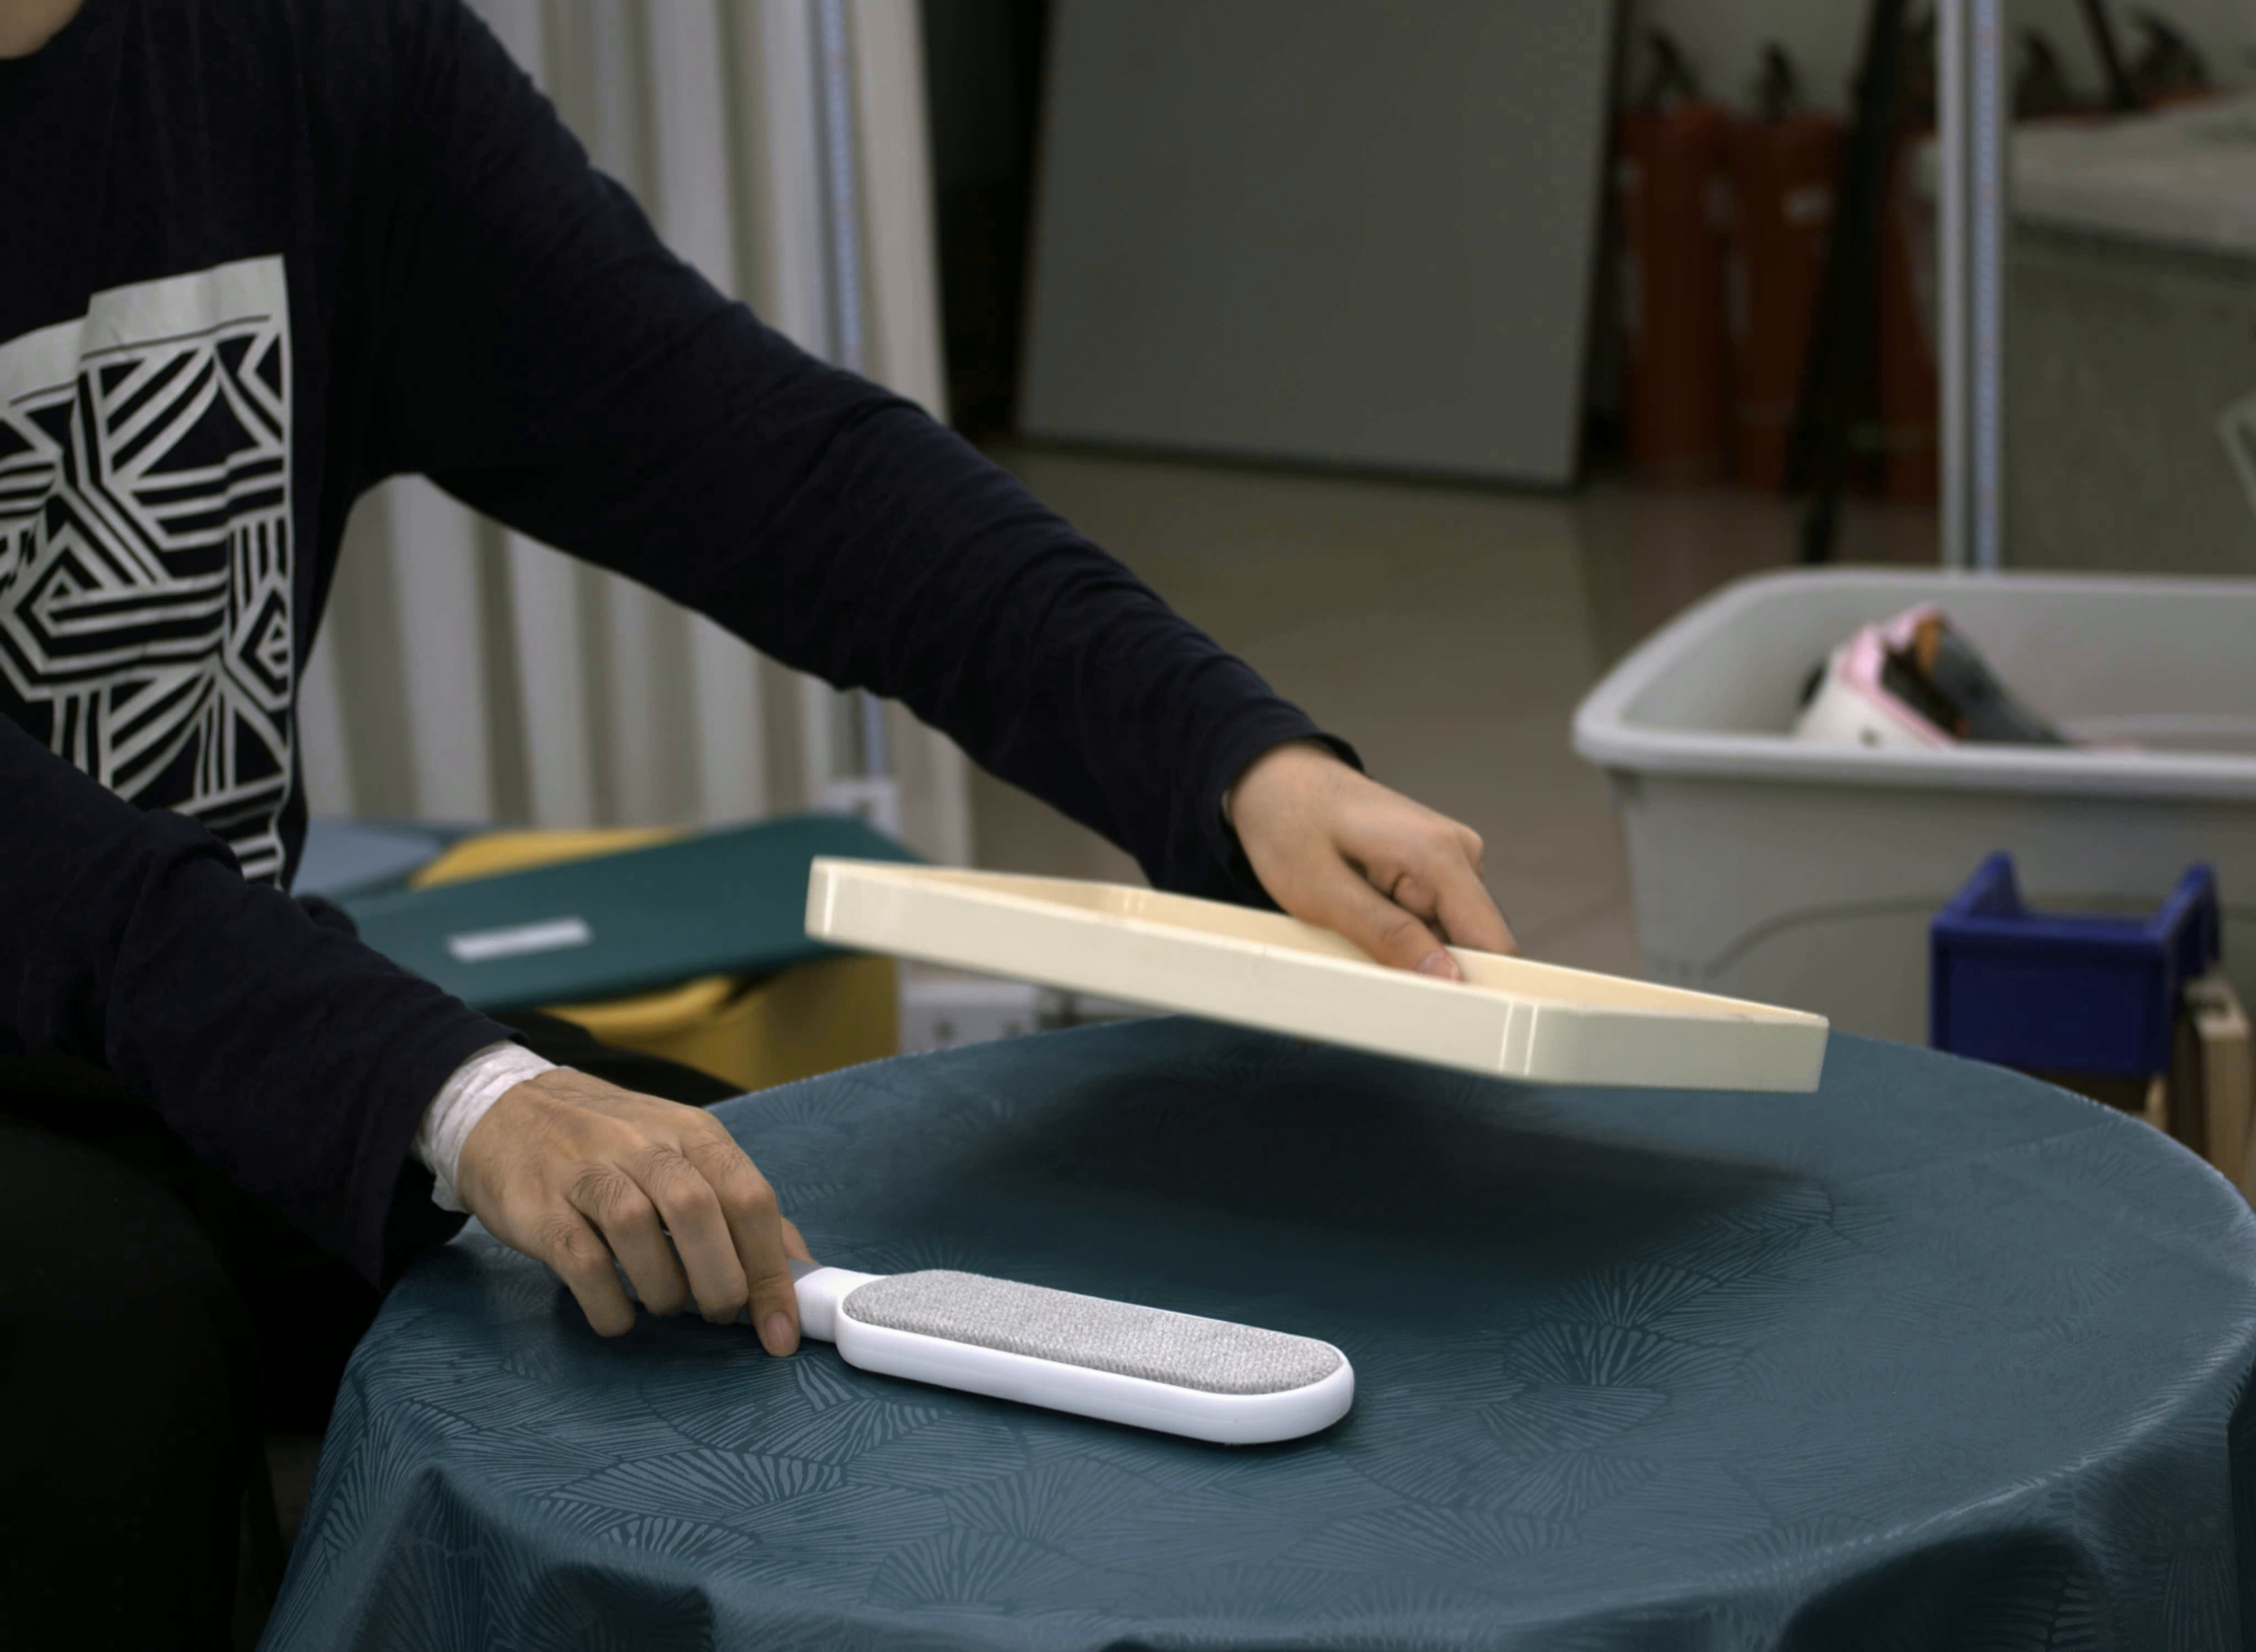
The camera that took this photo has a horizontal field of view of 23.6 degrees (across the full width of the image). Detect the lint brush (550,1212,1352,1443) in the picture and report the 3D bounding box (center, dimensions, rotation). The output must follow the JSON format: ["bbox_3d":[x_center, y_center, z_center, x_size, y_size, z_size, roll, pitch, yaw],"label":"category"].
[{"bbox_3d":[-0.060,0.147,1.628,0.311,0.021,0.059,7,24,39],"label":"lint brush"}]

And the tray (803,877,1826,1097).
[{"bbox_3d":[0.059,0.053,1.756,0.302,0.028,0.188,8,1,38],"label":"tray"}]
